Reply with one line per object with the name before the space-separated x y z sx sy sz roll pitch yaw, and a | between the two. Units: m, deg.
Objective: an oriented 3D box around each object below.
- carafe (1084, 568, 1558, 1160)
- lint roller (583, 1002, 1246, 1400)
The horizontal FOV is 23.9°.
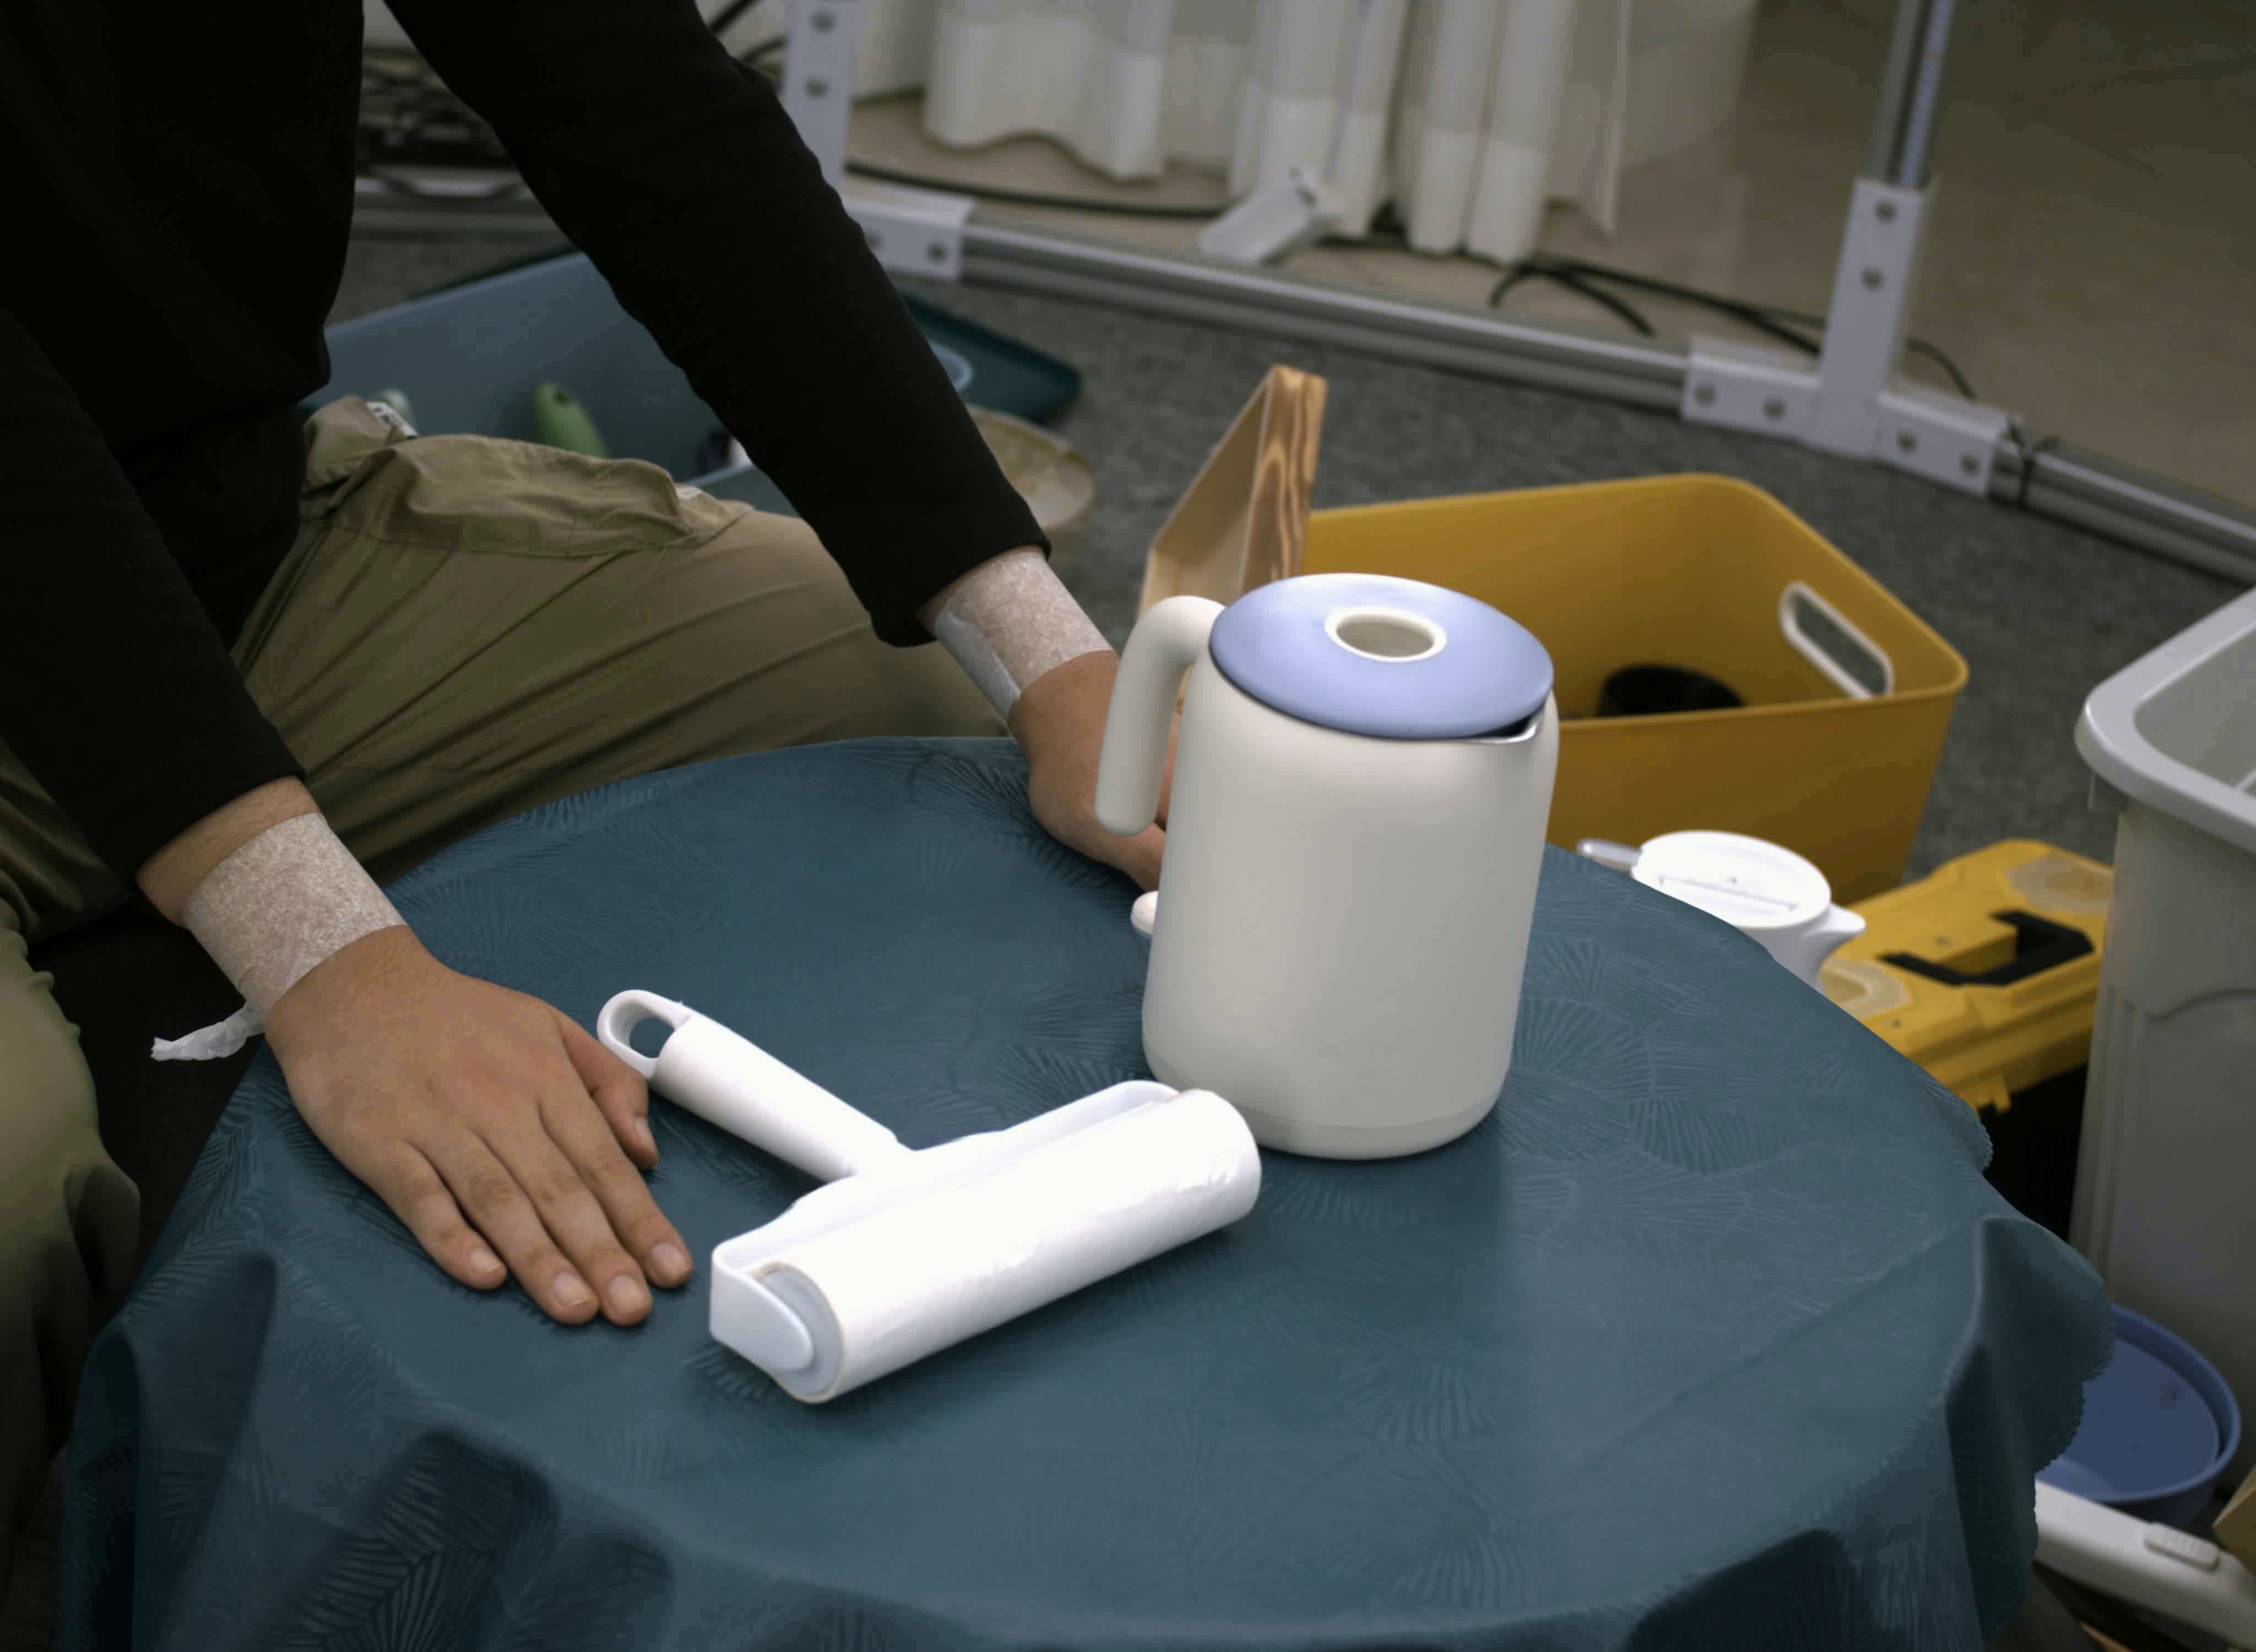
carafe | 0.060 0.004 1.862 0.192 0.182 0.131 26 32 37
lint roller | -0.104 0.101 1.777 0.227 0.048 0.202 27 34 37
